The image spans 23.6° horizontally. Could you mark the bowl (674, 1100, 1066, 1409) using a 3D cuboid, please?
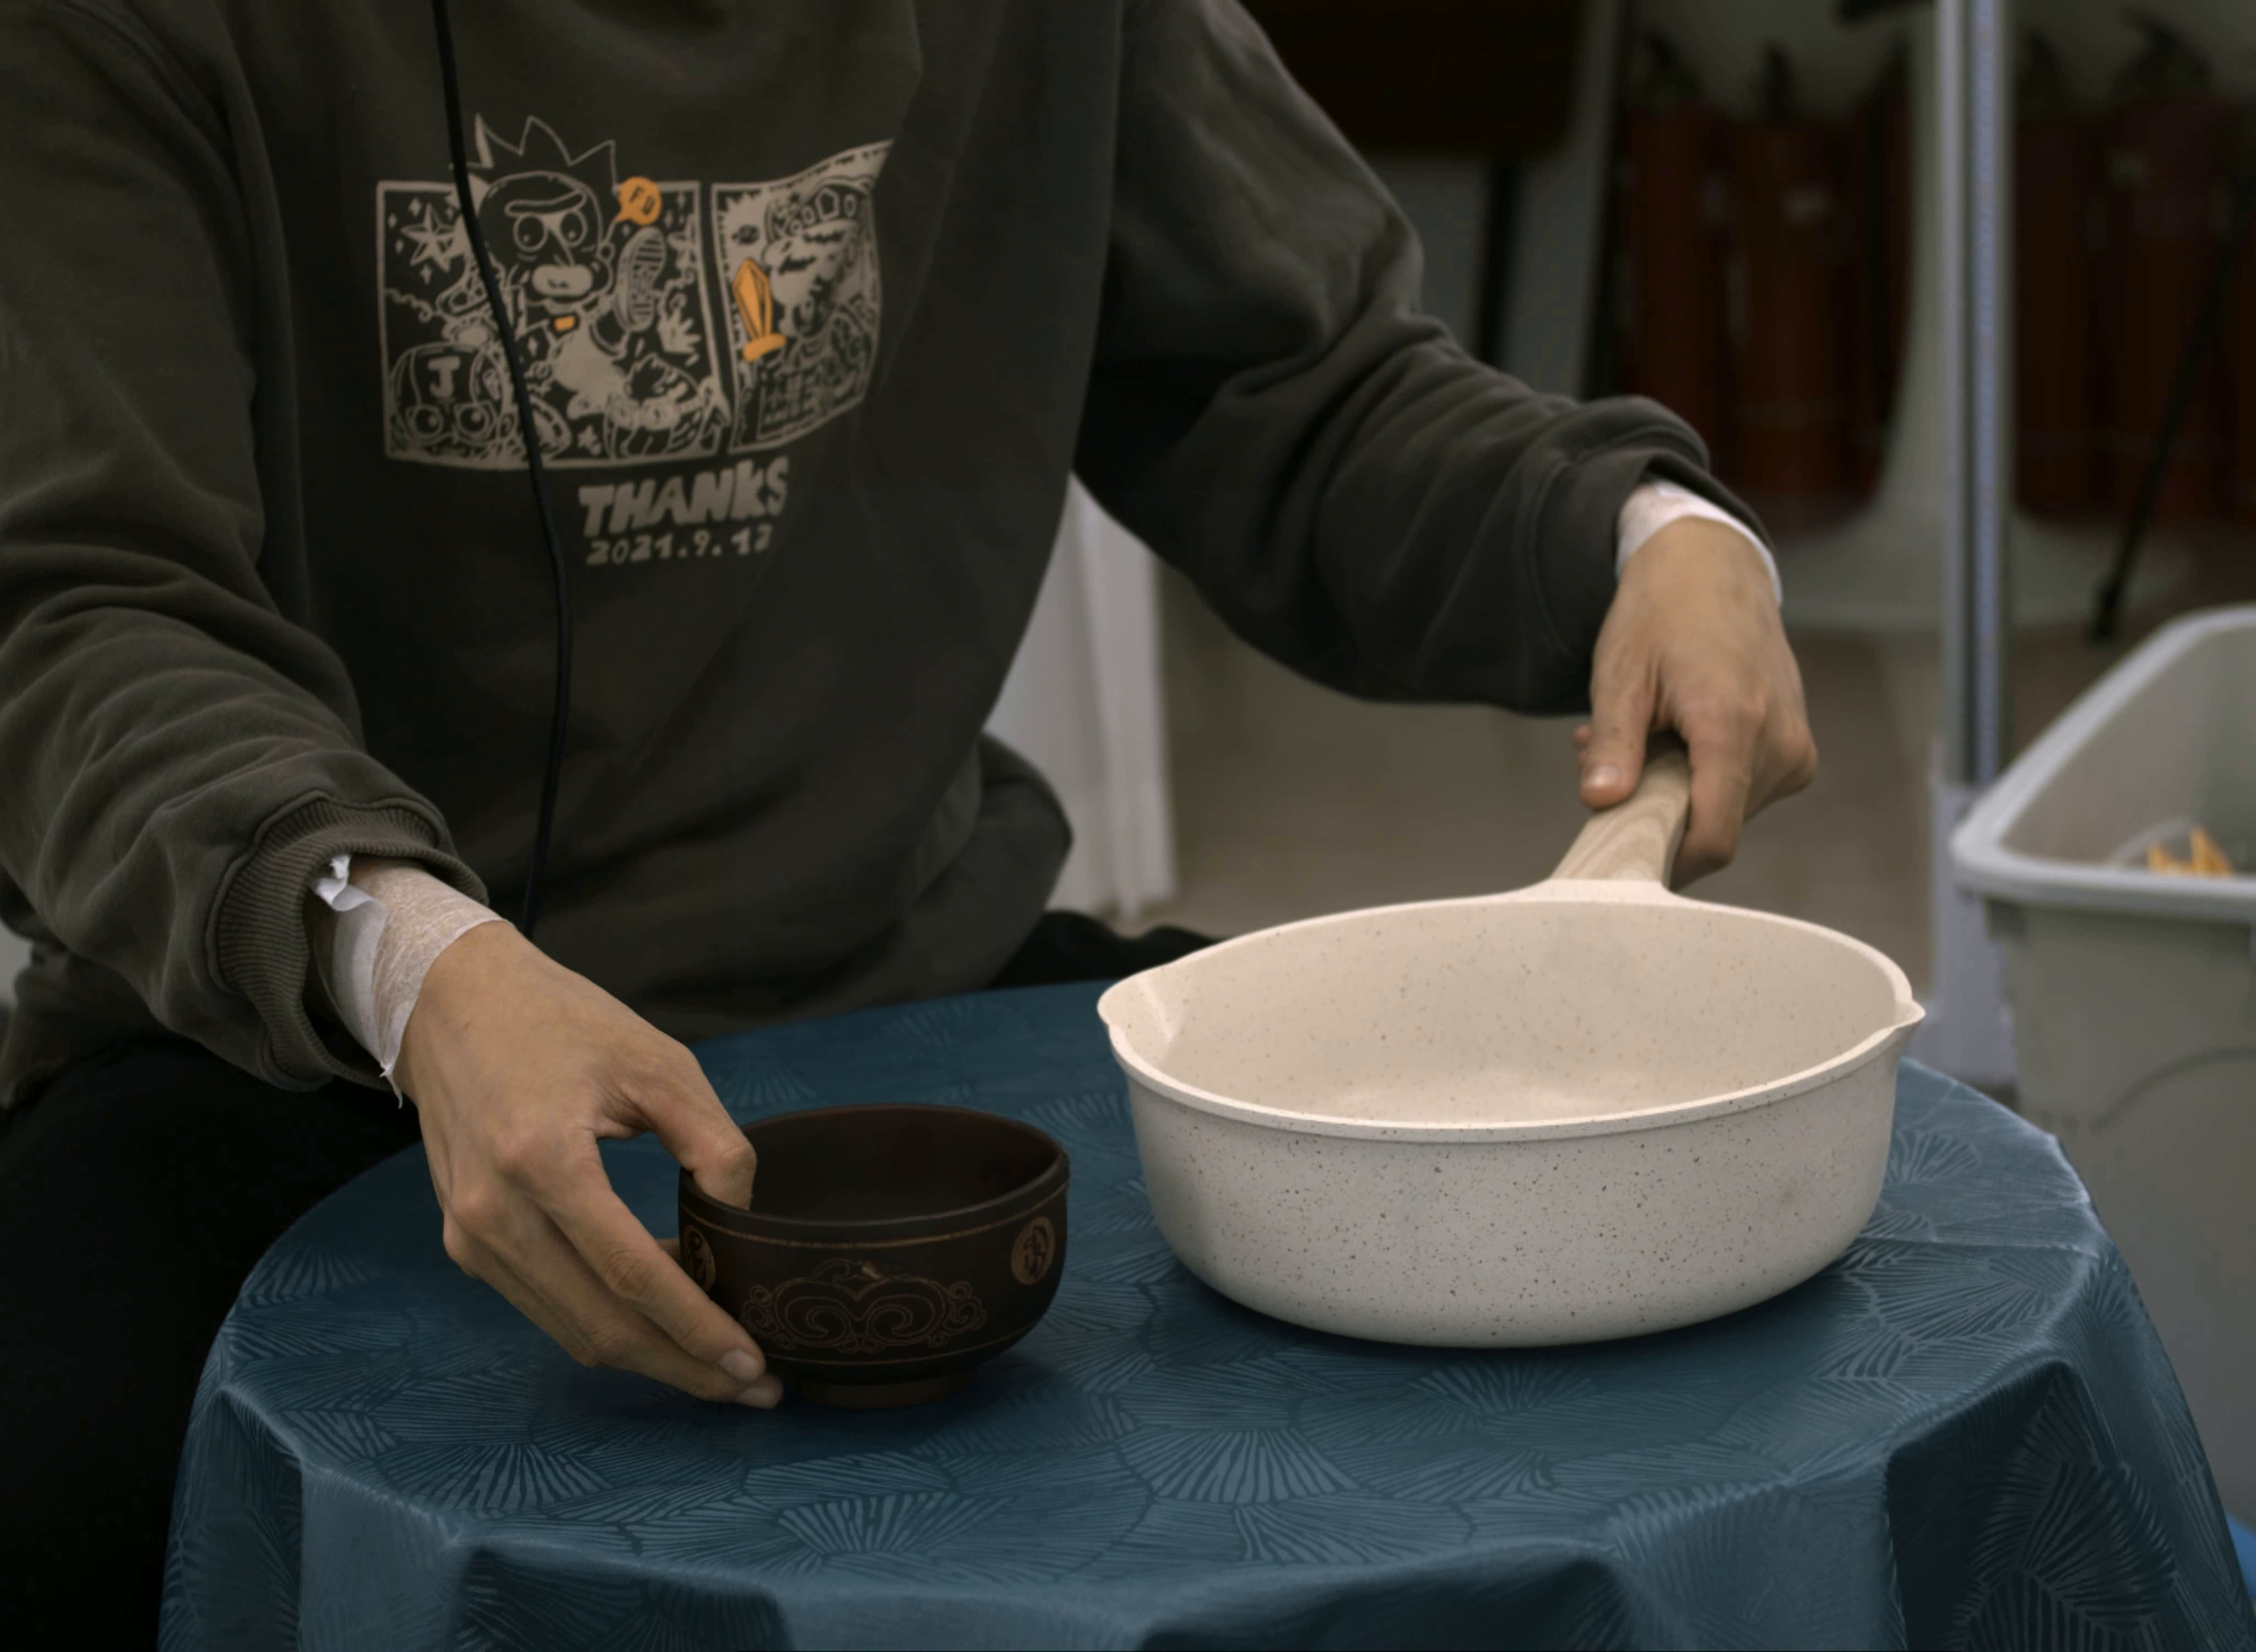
[{"bbox_3d":[-0.075,0.131,1.603,0.116,0.070,0.118,-4,13,0],"label":"bowl"}]

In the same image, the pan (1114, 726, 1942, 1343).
[{"bbox_3d":[0.151,0.064,1.760,0.262,0.103,0.431,-2,13,18],"label":"pan"}]
